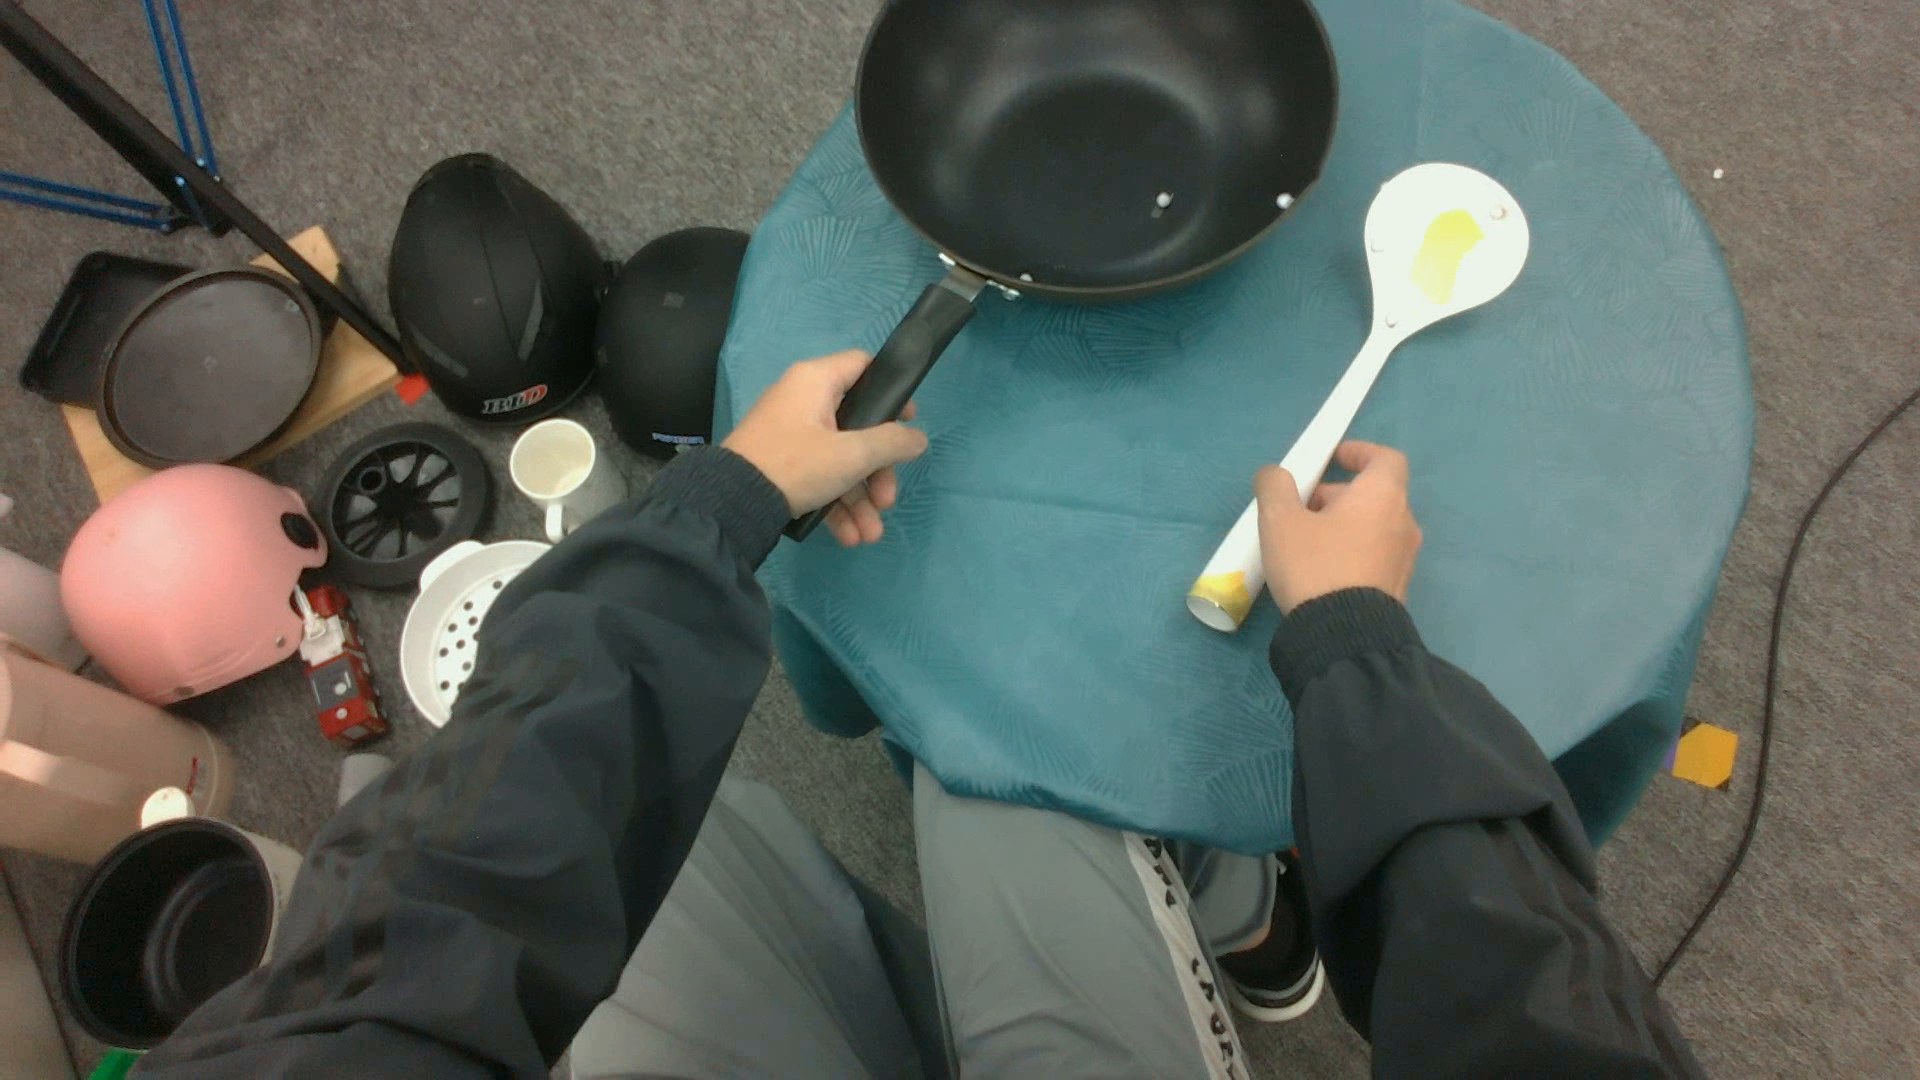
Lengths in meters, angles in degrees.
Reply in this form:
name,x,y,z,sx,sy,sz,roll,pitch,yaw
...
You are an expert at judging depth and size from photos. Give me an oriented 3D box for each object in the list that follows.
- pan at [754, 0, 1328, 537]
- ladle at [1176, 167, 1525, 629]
name,x,y,z,sx,sy,sz,roll,pitch,yaw
pan,0.030,-0.179,0.829,0.288,0.086,0.464,28,75,16
ladle,0.215,-0.079,0.778,0.090,0.070,0.294,34,76,8
